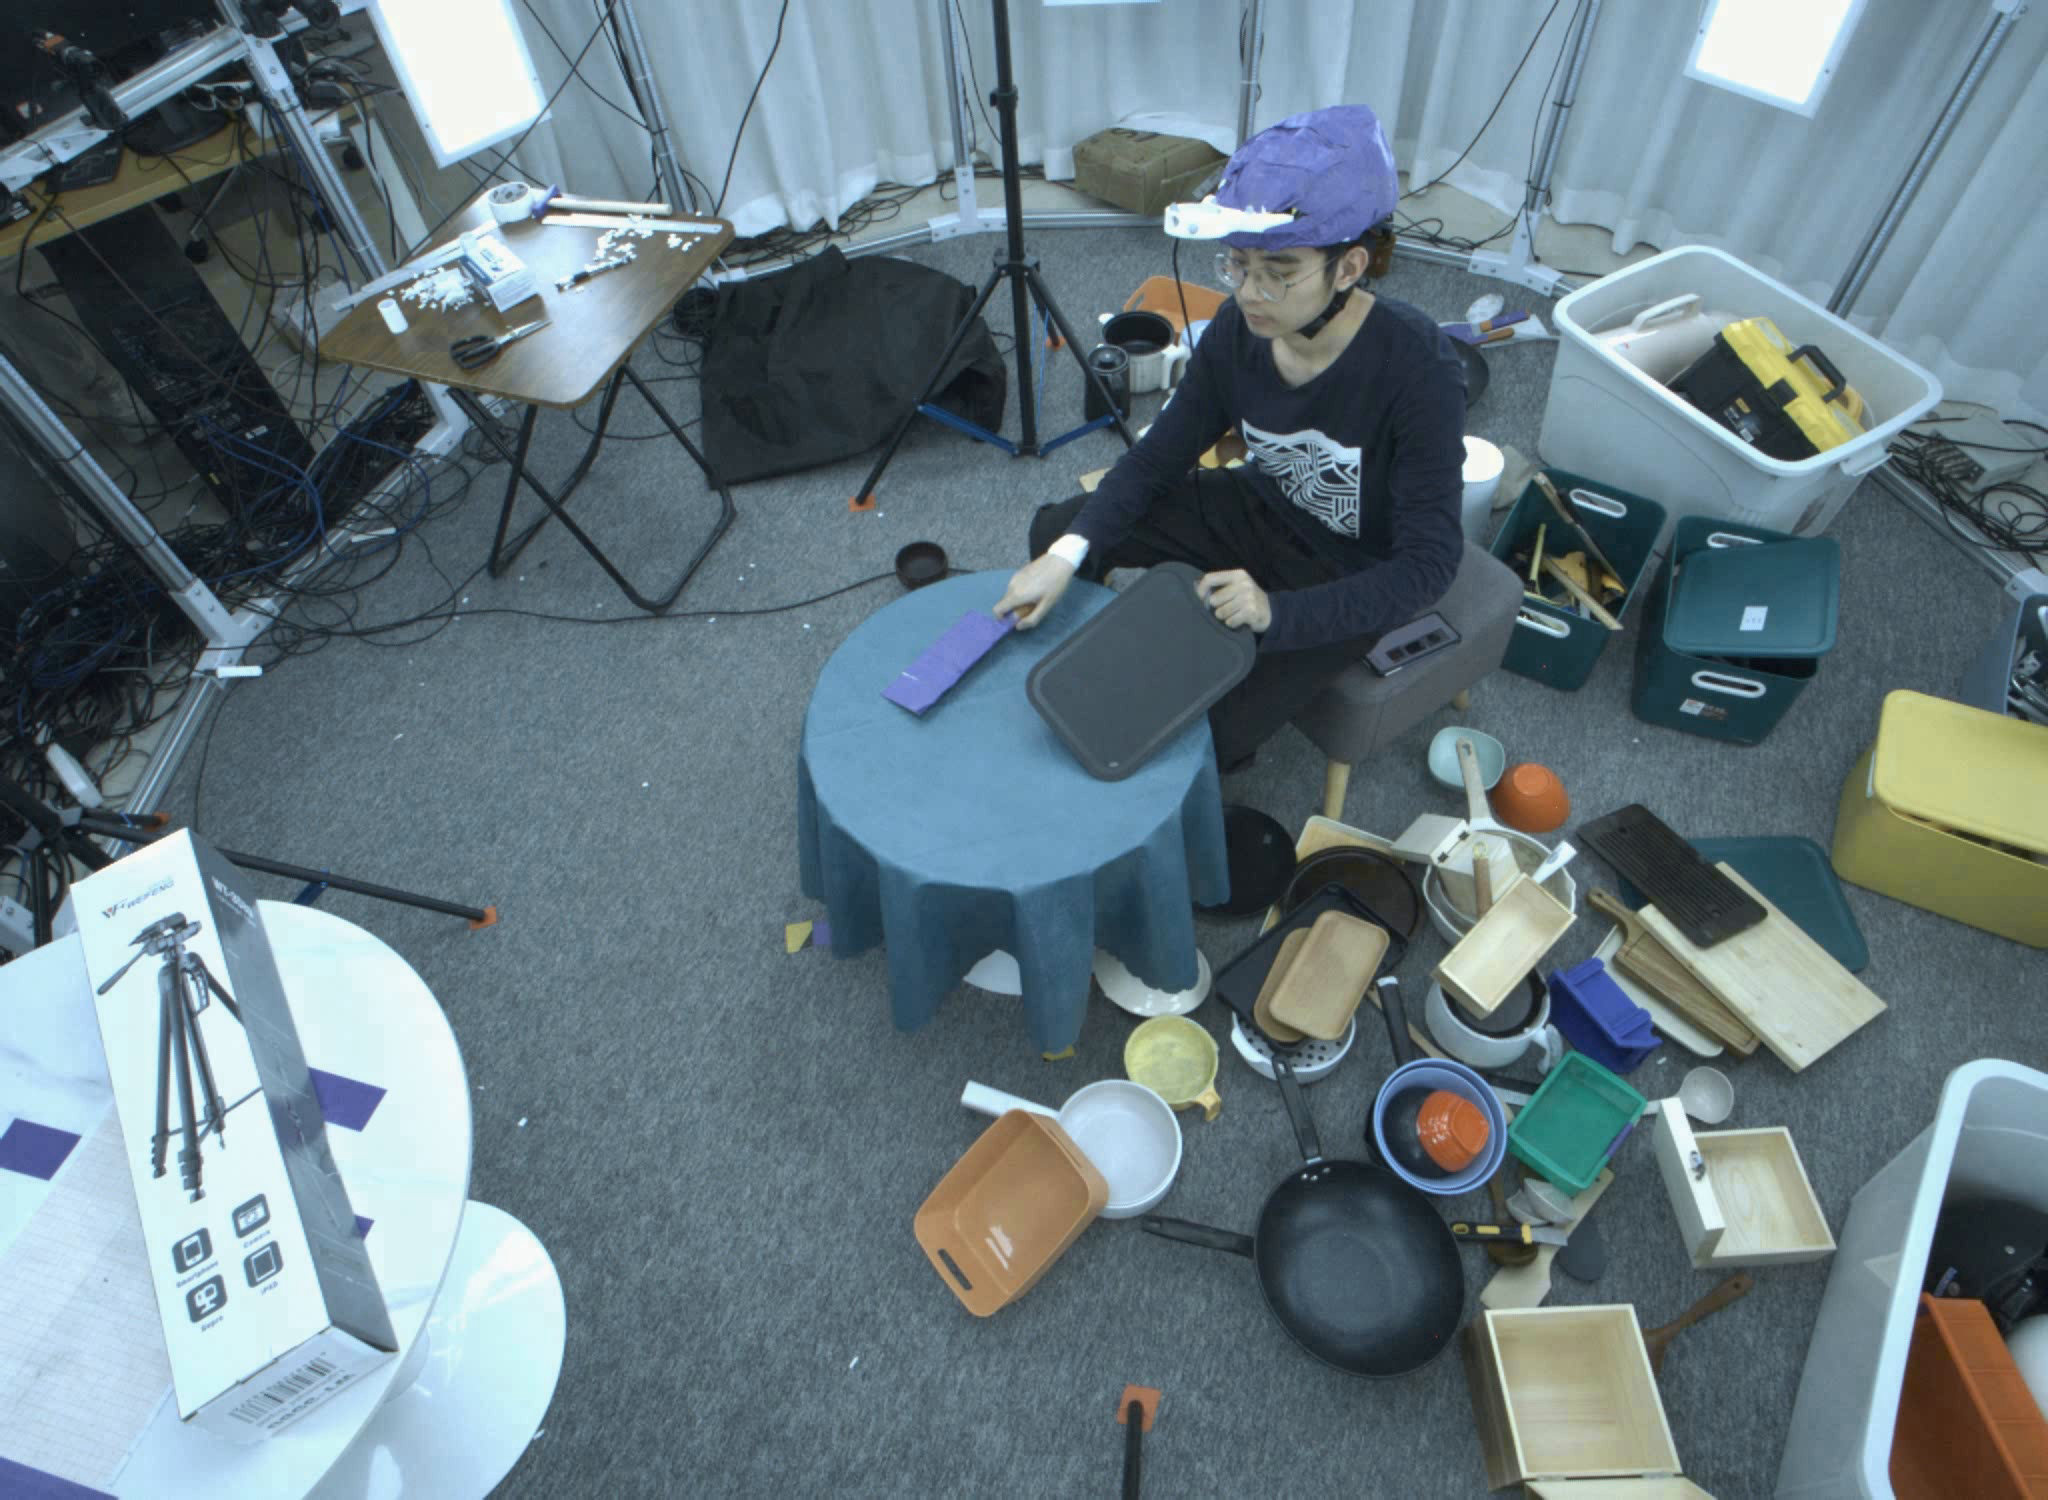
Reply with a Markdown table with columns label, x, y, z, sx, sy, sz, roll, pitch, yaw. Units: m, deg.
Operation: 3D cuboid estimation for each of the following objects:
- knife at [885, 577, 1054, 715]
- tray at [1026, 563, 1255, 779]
| label | x | y | z | sx | sy | sz | roll | pitch | yaw |
| --- | --- | --- | --- | --- | --- | --- | --- | --- | --- |
| knife | -0.087 | -0.173 | 1.891 | 0.101 | 0.033 | 0.317 | 29 | 61 | 33 |
| tray | 0.174 | -0.122 | 1.781 | 0.326 | 0.010 | 0.210 | -39 | 85 | -5 |
